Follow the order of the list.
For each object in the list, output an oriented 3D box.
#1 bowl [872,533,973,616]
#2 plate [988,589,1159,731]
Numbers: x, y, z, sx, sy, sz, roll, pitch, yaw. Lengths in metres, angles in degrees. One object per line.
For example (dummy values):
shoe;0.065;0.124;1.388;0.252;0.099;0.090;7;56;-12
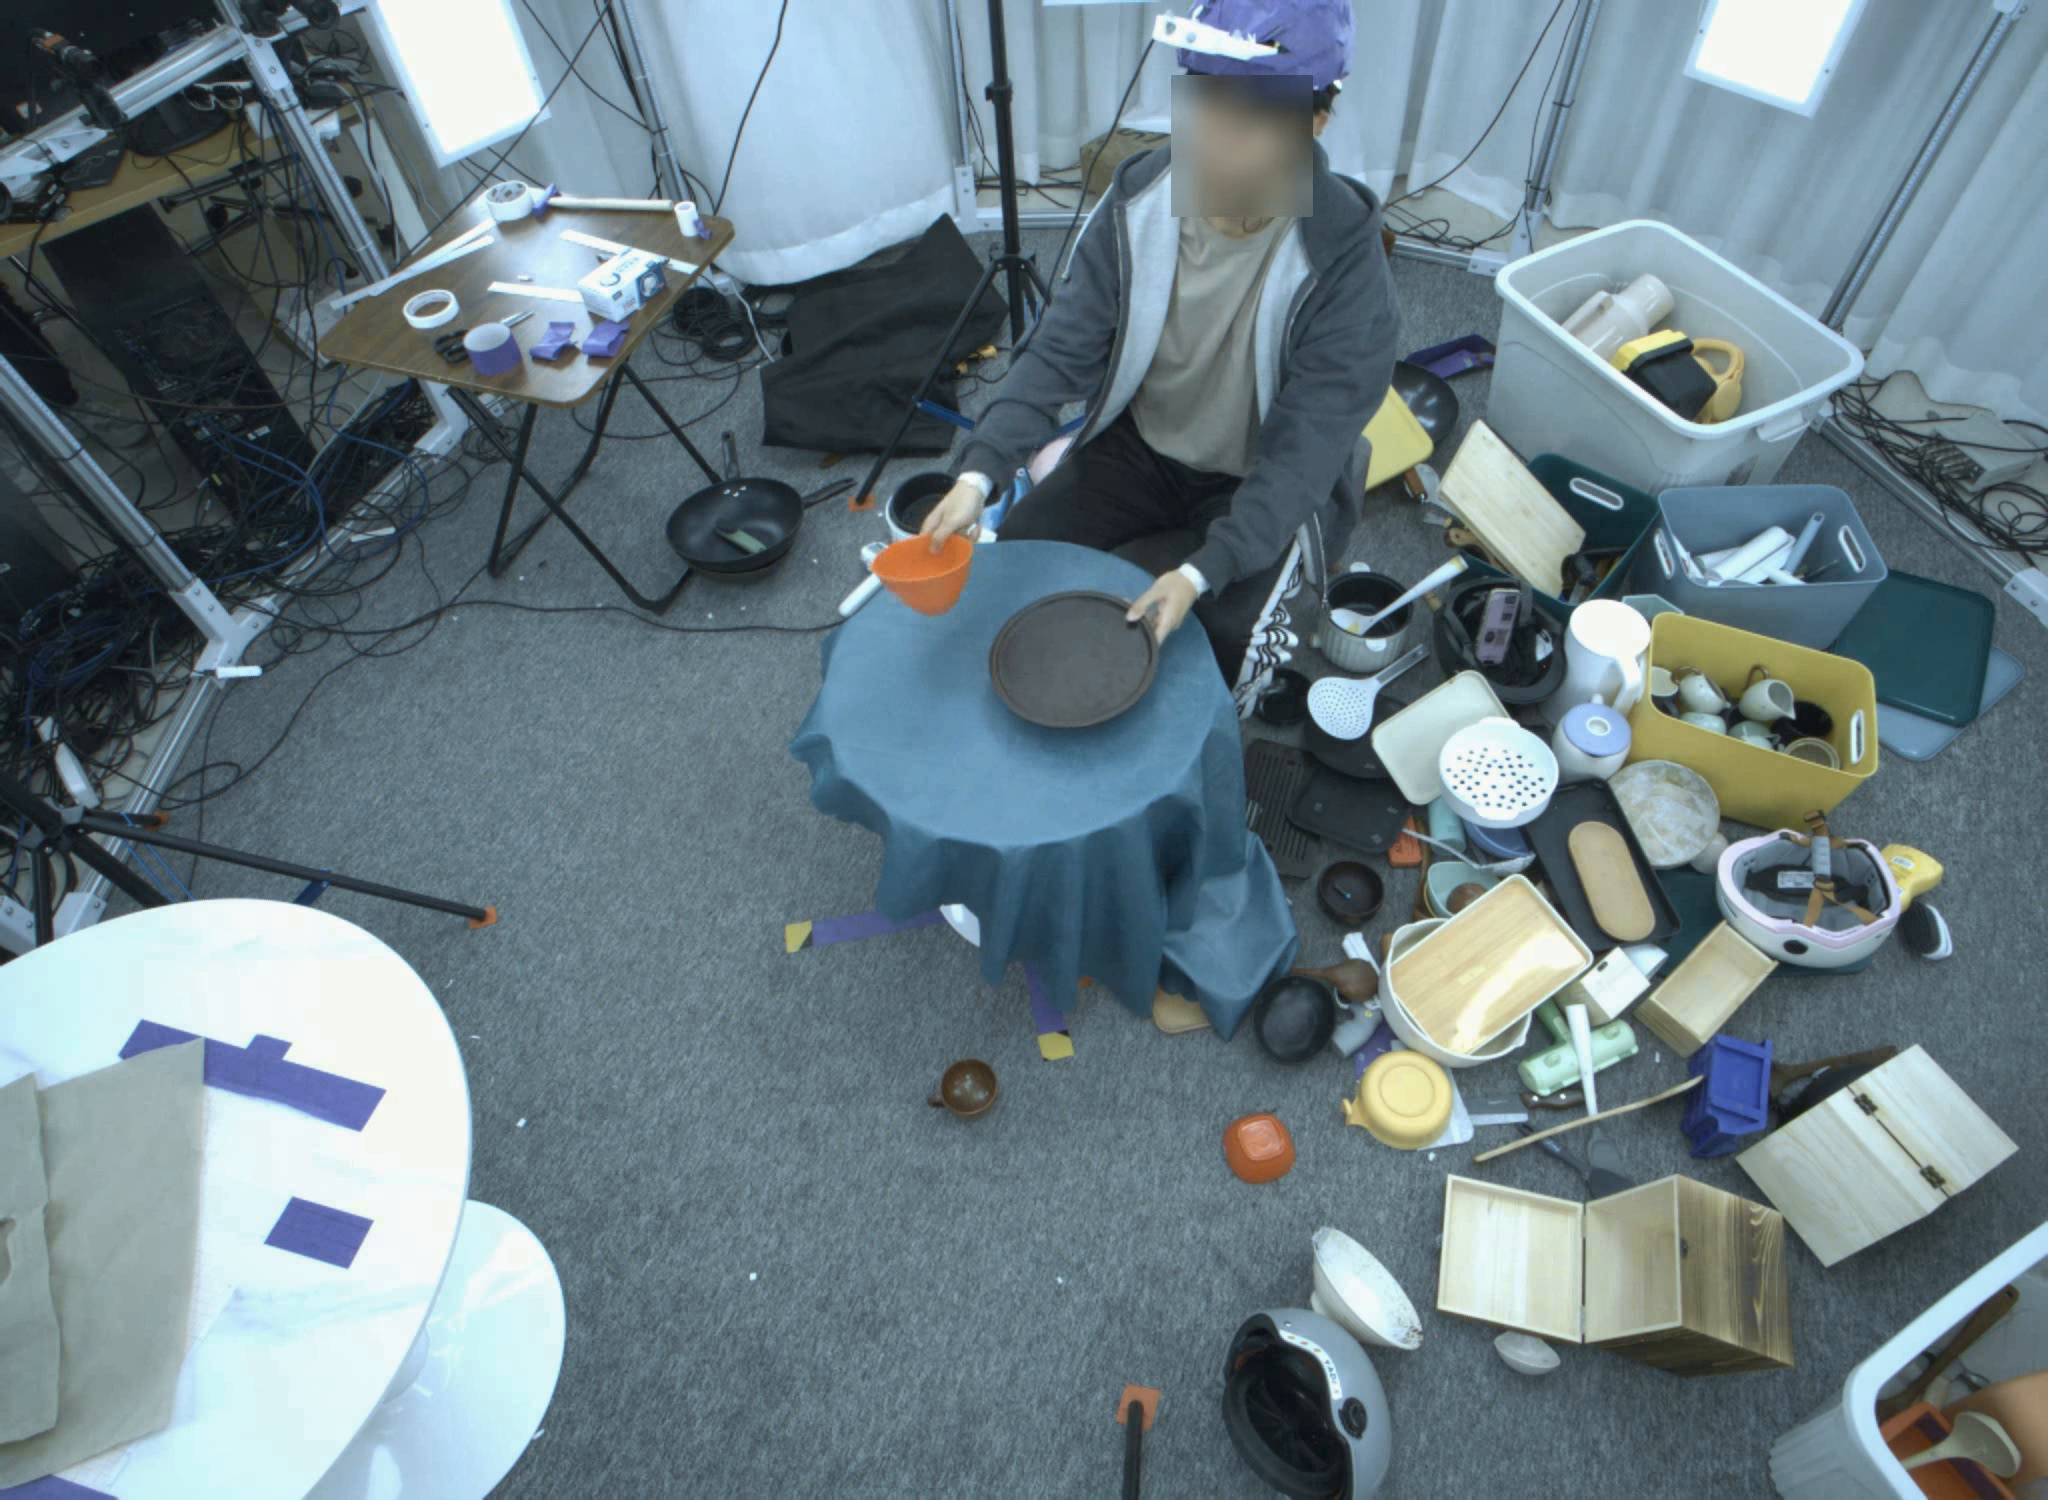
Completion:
bowl;-0.141;-0.248;1.777;0.147;0.106;0.146;-5;45;6
plate;0.072;-0.134;1.811;0.254;0.029;0.252;-4;57;7
